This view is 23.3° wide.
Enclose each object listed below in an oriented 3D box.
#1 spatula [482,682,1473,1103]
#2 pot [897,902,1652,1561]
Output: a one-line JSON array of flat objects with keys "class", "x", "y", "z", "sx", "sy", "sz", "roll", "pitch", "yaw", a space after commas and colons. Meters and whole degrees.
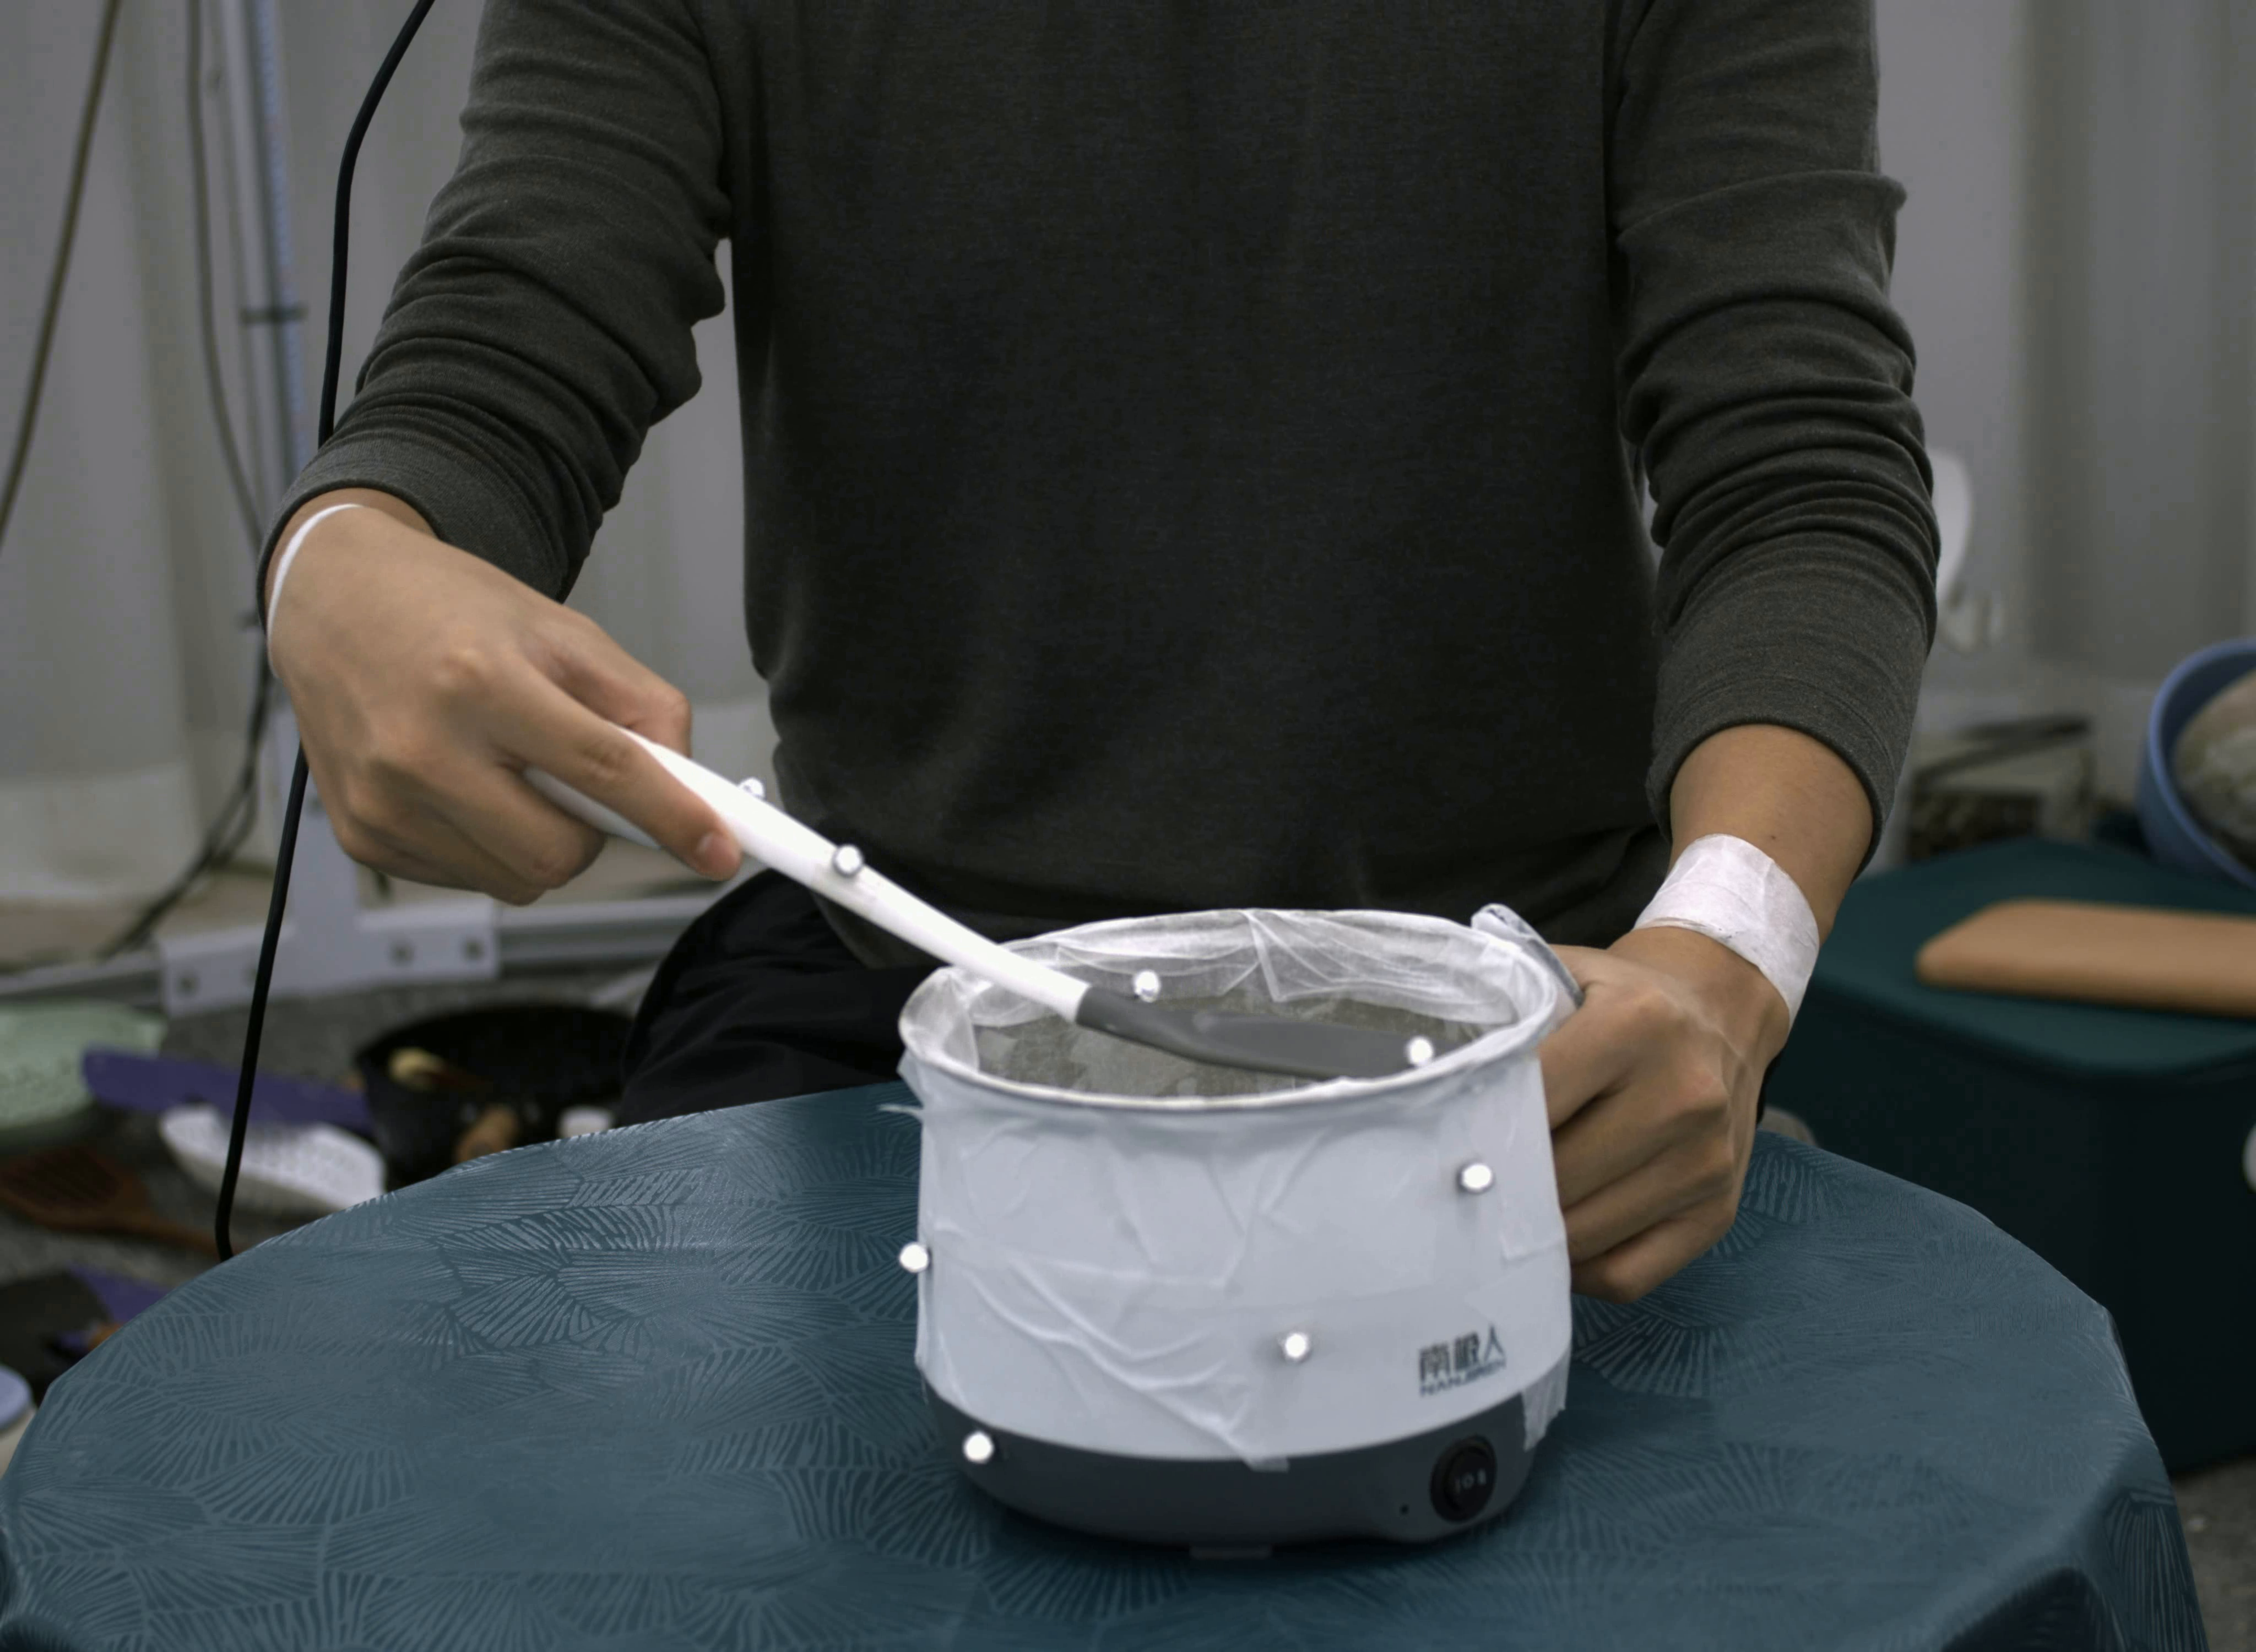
[{"class": "spatula", "x": -0.039, "y": 0.025, "z": 1.468, "sx": 0.288, "sy": 0.032, "sz": 0.059, "roll": 21, "pitch": 12, "yaw": 12}, {"class": "pot", "x": 0.050, "y": 0.101, "z": 1.490, "sx": 0.233, "sy": 0.136, "sz": 0.180, "roll": -15, "pitch": 19, "yaw": -39}]
